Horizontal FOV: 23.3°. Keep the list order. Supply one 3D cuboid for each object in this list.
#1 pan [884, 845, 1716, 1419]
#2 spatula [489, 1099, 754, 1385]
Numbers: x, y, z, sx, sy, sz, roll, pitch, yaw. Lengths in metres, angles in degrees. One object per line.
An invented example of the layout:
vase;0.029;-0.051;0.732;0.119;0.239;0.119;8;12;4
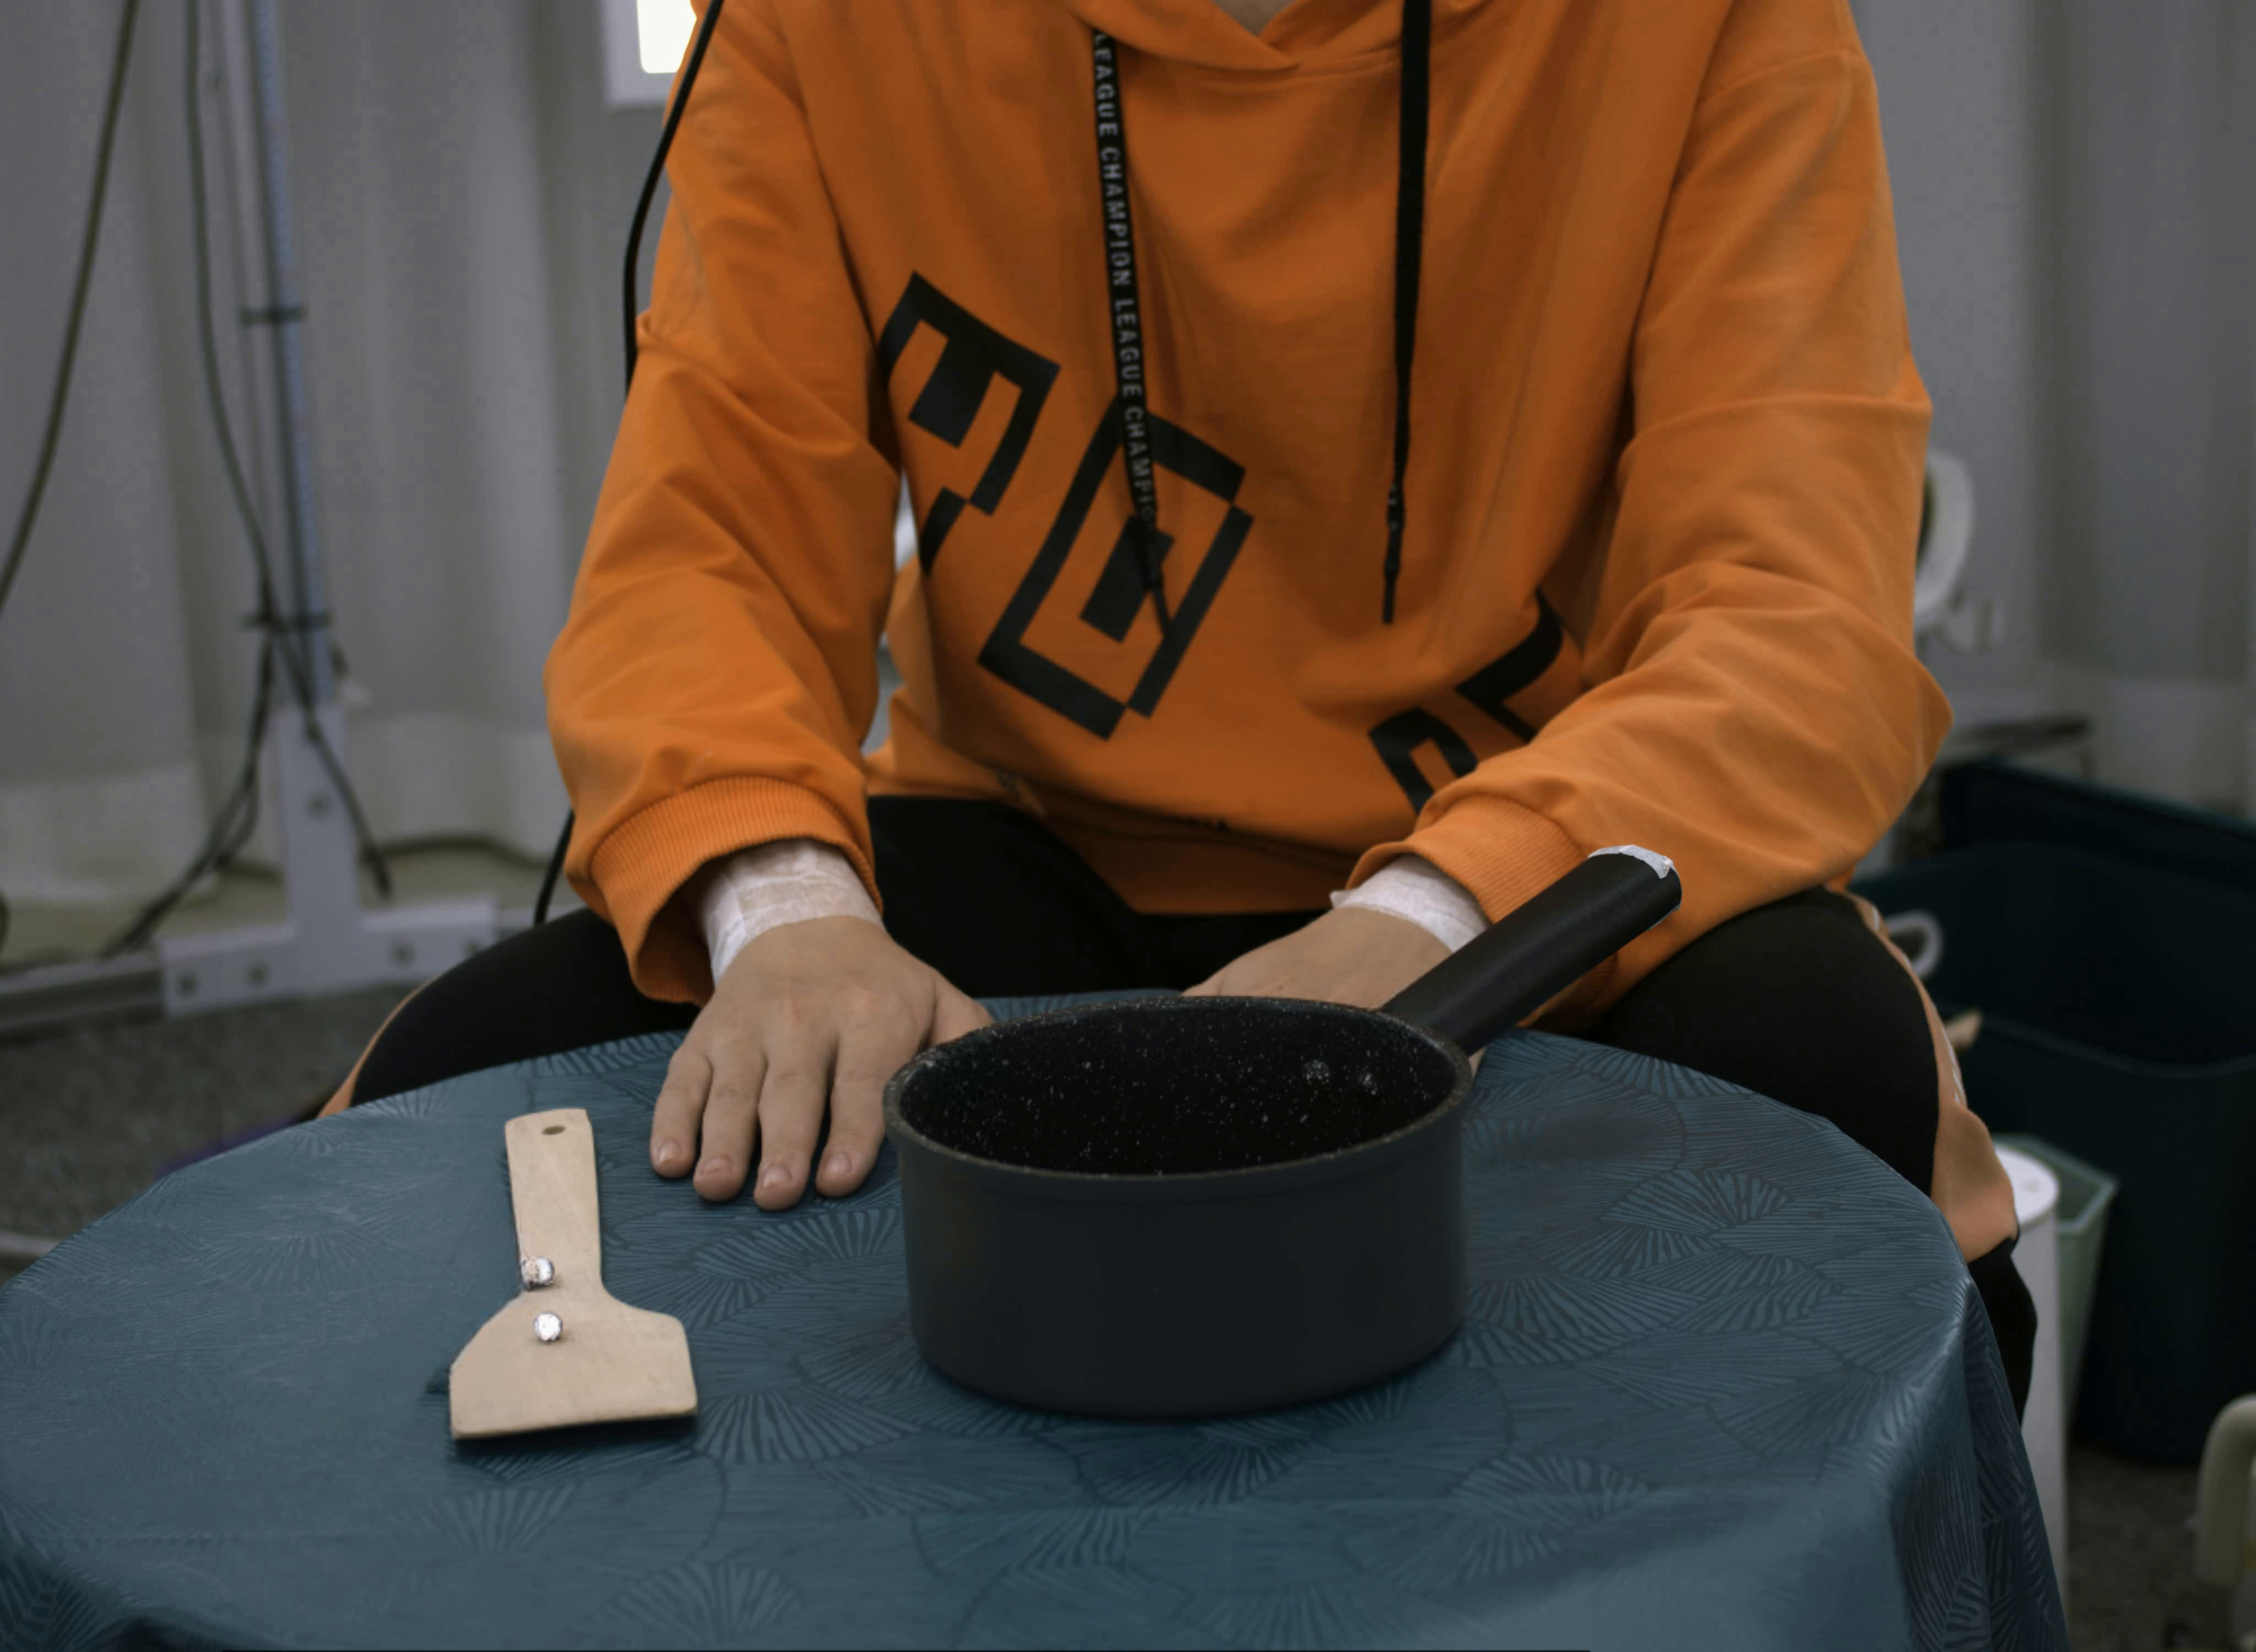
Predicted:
pan;0.068;0.088;1.640;0.173;0.086;0.328;11;22;40
spatula;-0.164;0.124;1.659;0.072;0.010;0.295;3;12;-11
